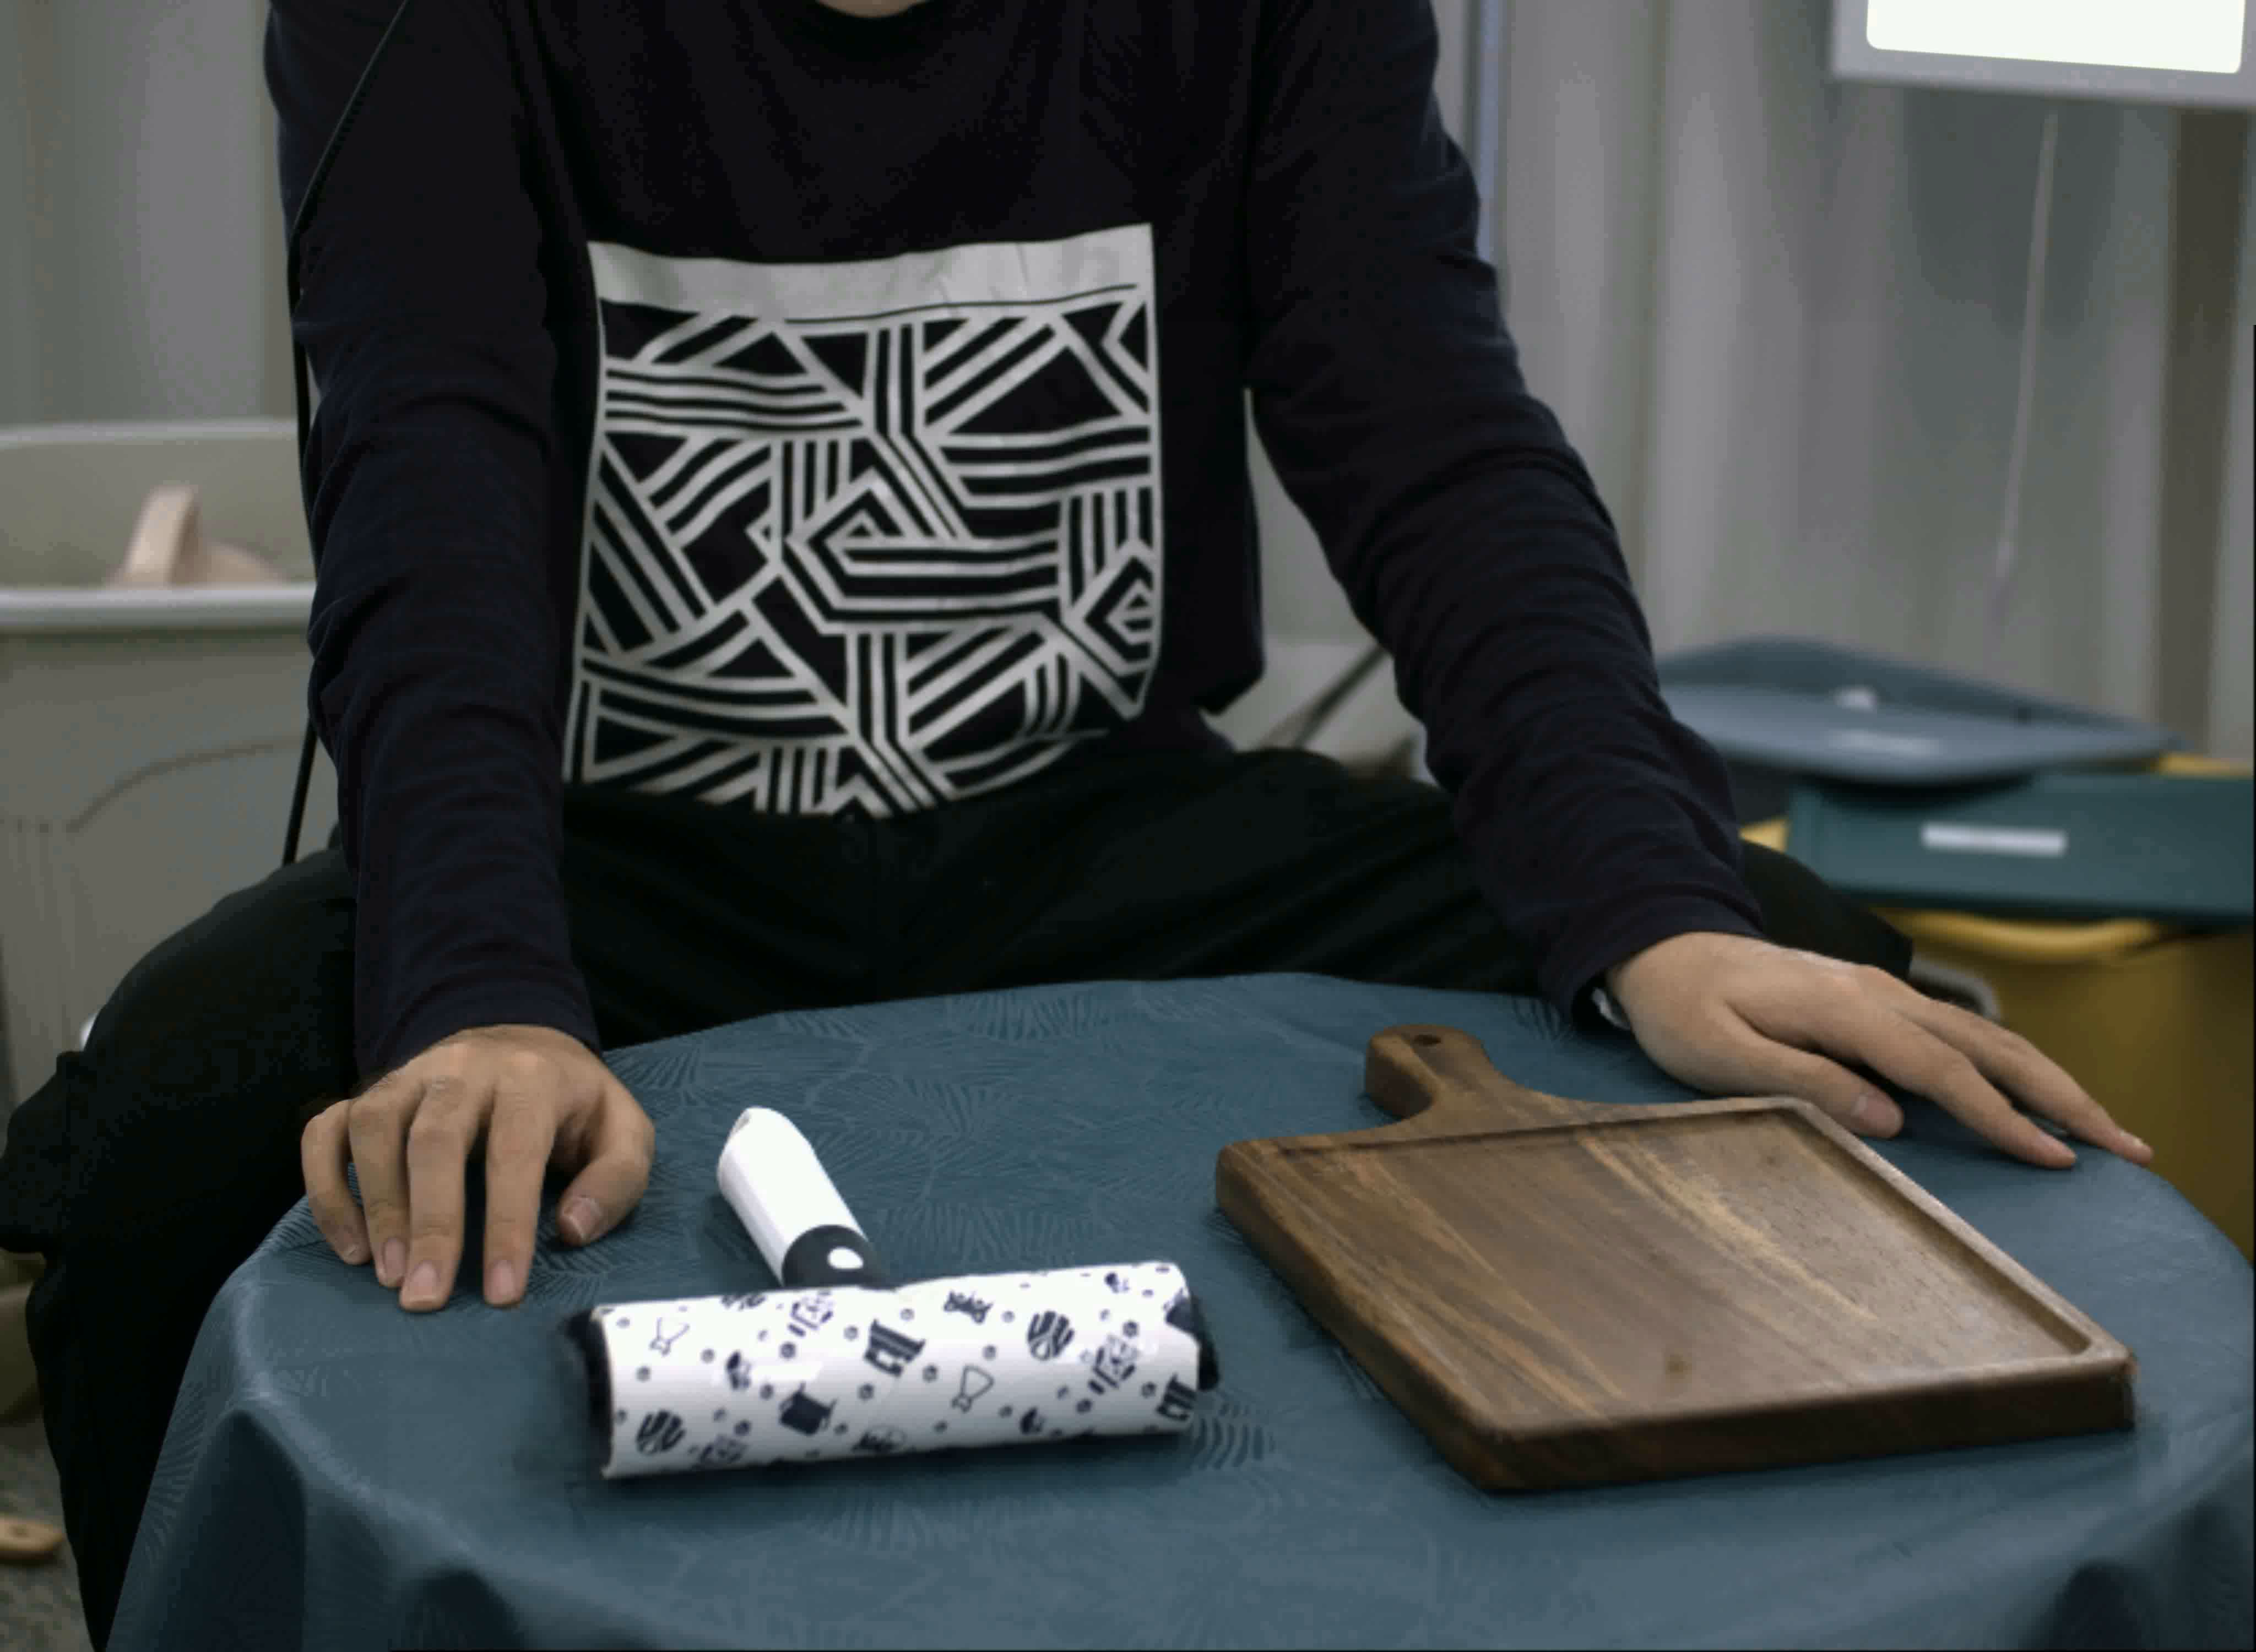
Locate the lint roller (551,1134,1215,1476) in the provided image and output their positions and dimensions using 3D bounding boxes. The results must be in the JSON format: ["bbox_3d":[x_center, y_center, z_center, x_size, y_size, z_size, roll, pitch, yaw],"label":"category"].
[{"bbox_3d":[-0.091,0.122,1.506,0.176,0.051,0.245,-4,14,-15],"label":"lint roller"}]

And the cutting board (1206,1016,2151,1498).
[{"bbox_3d":[0.138,0.117,1.571,0.201,0.023,0.348,-4,16,-17],"label":"cutting board"}]
